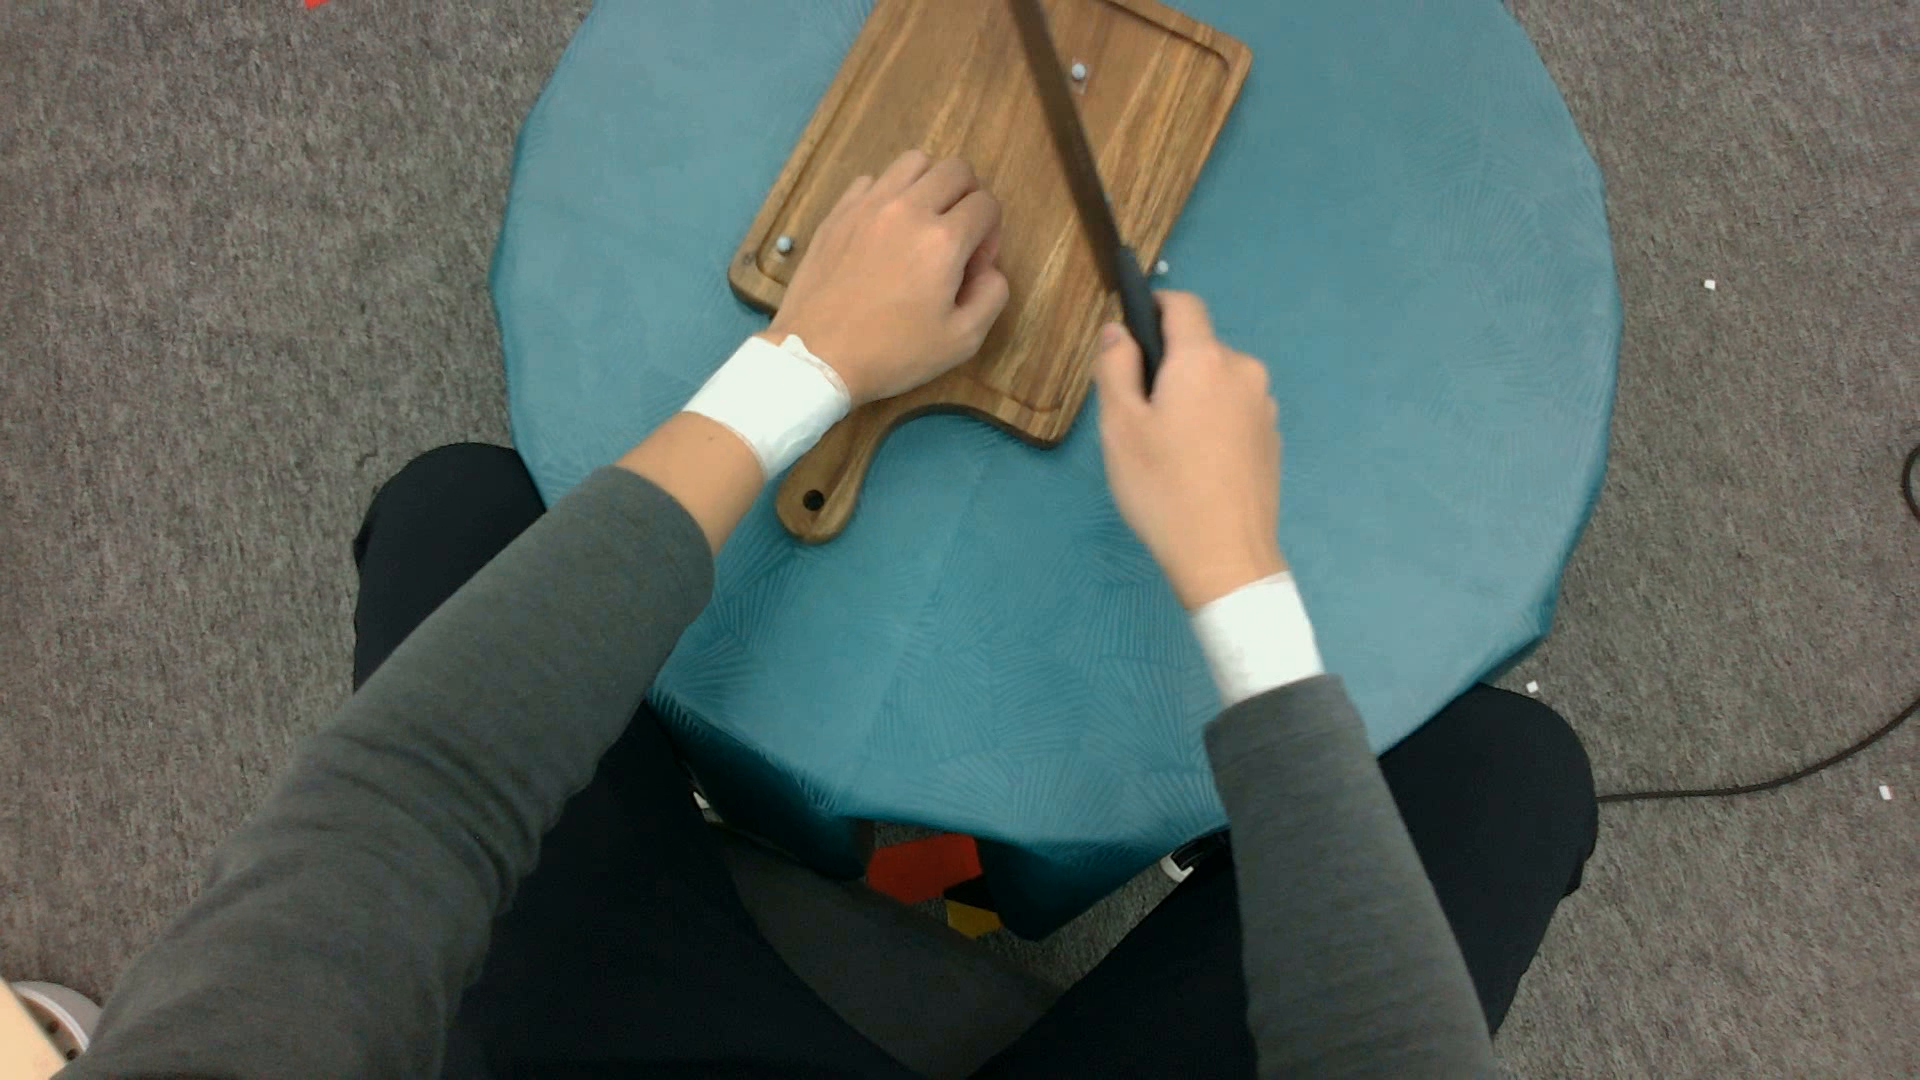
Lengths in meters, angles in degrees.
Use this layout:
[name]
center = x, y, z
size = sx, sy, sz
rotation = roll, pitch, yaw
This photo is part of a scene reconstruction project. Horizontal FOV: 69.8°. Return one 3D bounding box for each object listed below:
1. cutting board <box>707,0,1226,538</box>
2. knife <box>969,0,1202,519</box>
[cutting board]
center = -0.014, -0.160, 0.728
size = 0.201, 0.023, 0.353
rotation = 26, 78, 3
[knife]
center = 0.048, -0.153, 0.641
size = 0.021, 0.081, 0.302
rotation = -21, 85, -4
